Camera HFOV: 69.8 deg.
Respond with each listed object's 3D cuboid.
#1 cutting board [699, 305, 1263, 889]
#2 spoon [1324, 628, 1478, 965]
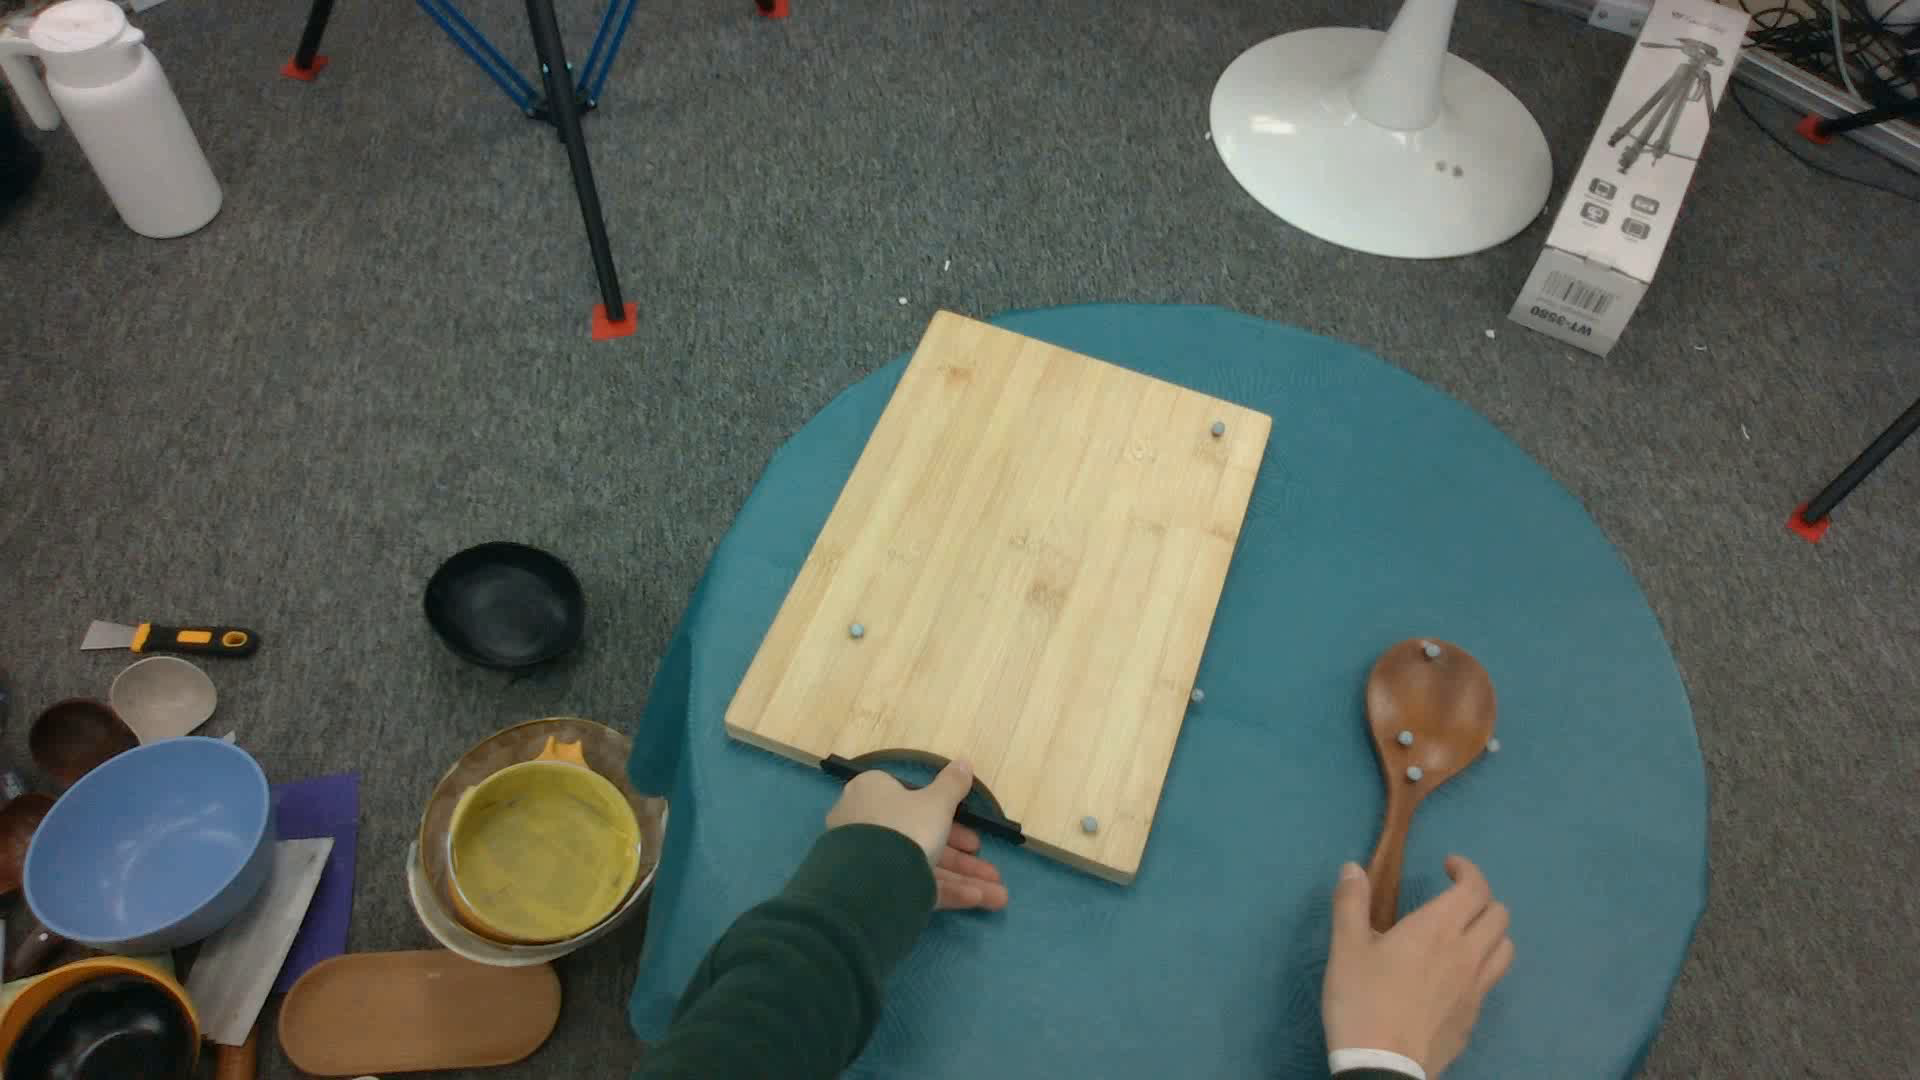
[{"bbox_3d":[0.029,0.014,0.838,0.250,0.023,0.350,18,56,7],"label":"cutting board"},{"bbox_3d":[0.241,0.139,0.773,0.075,0.017,0.217,23,56,8],"label":"spoon"}]
